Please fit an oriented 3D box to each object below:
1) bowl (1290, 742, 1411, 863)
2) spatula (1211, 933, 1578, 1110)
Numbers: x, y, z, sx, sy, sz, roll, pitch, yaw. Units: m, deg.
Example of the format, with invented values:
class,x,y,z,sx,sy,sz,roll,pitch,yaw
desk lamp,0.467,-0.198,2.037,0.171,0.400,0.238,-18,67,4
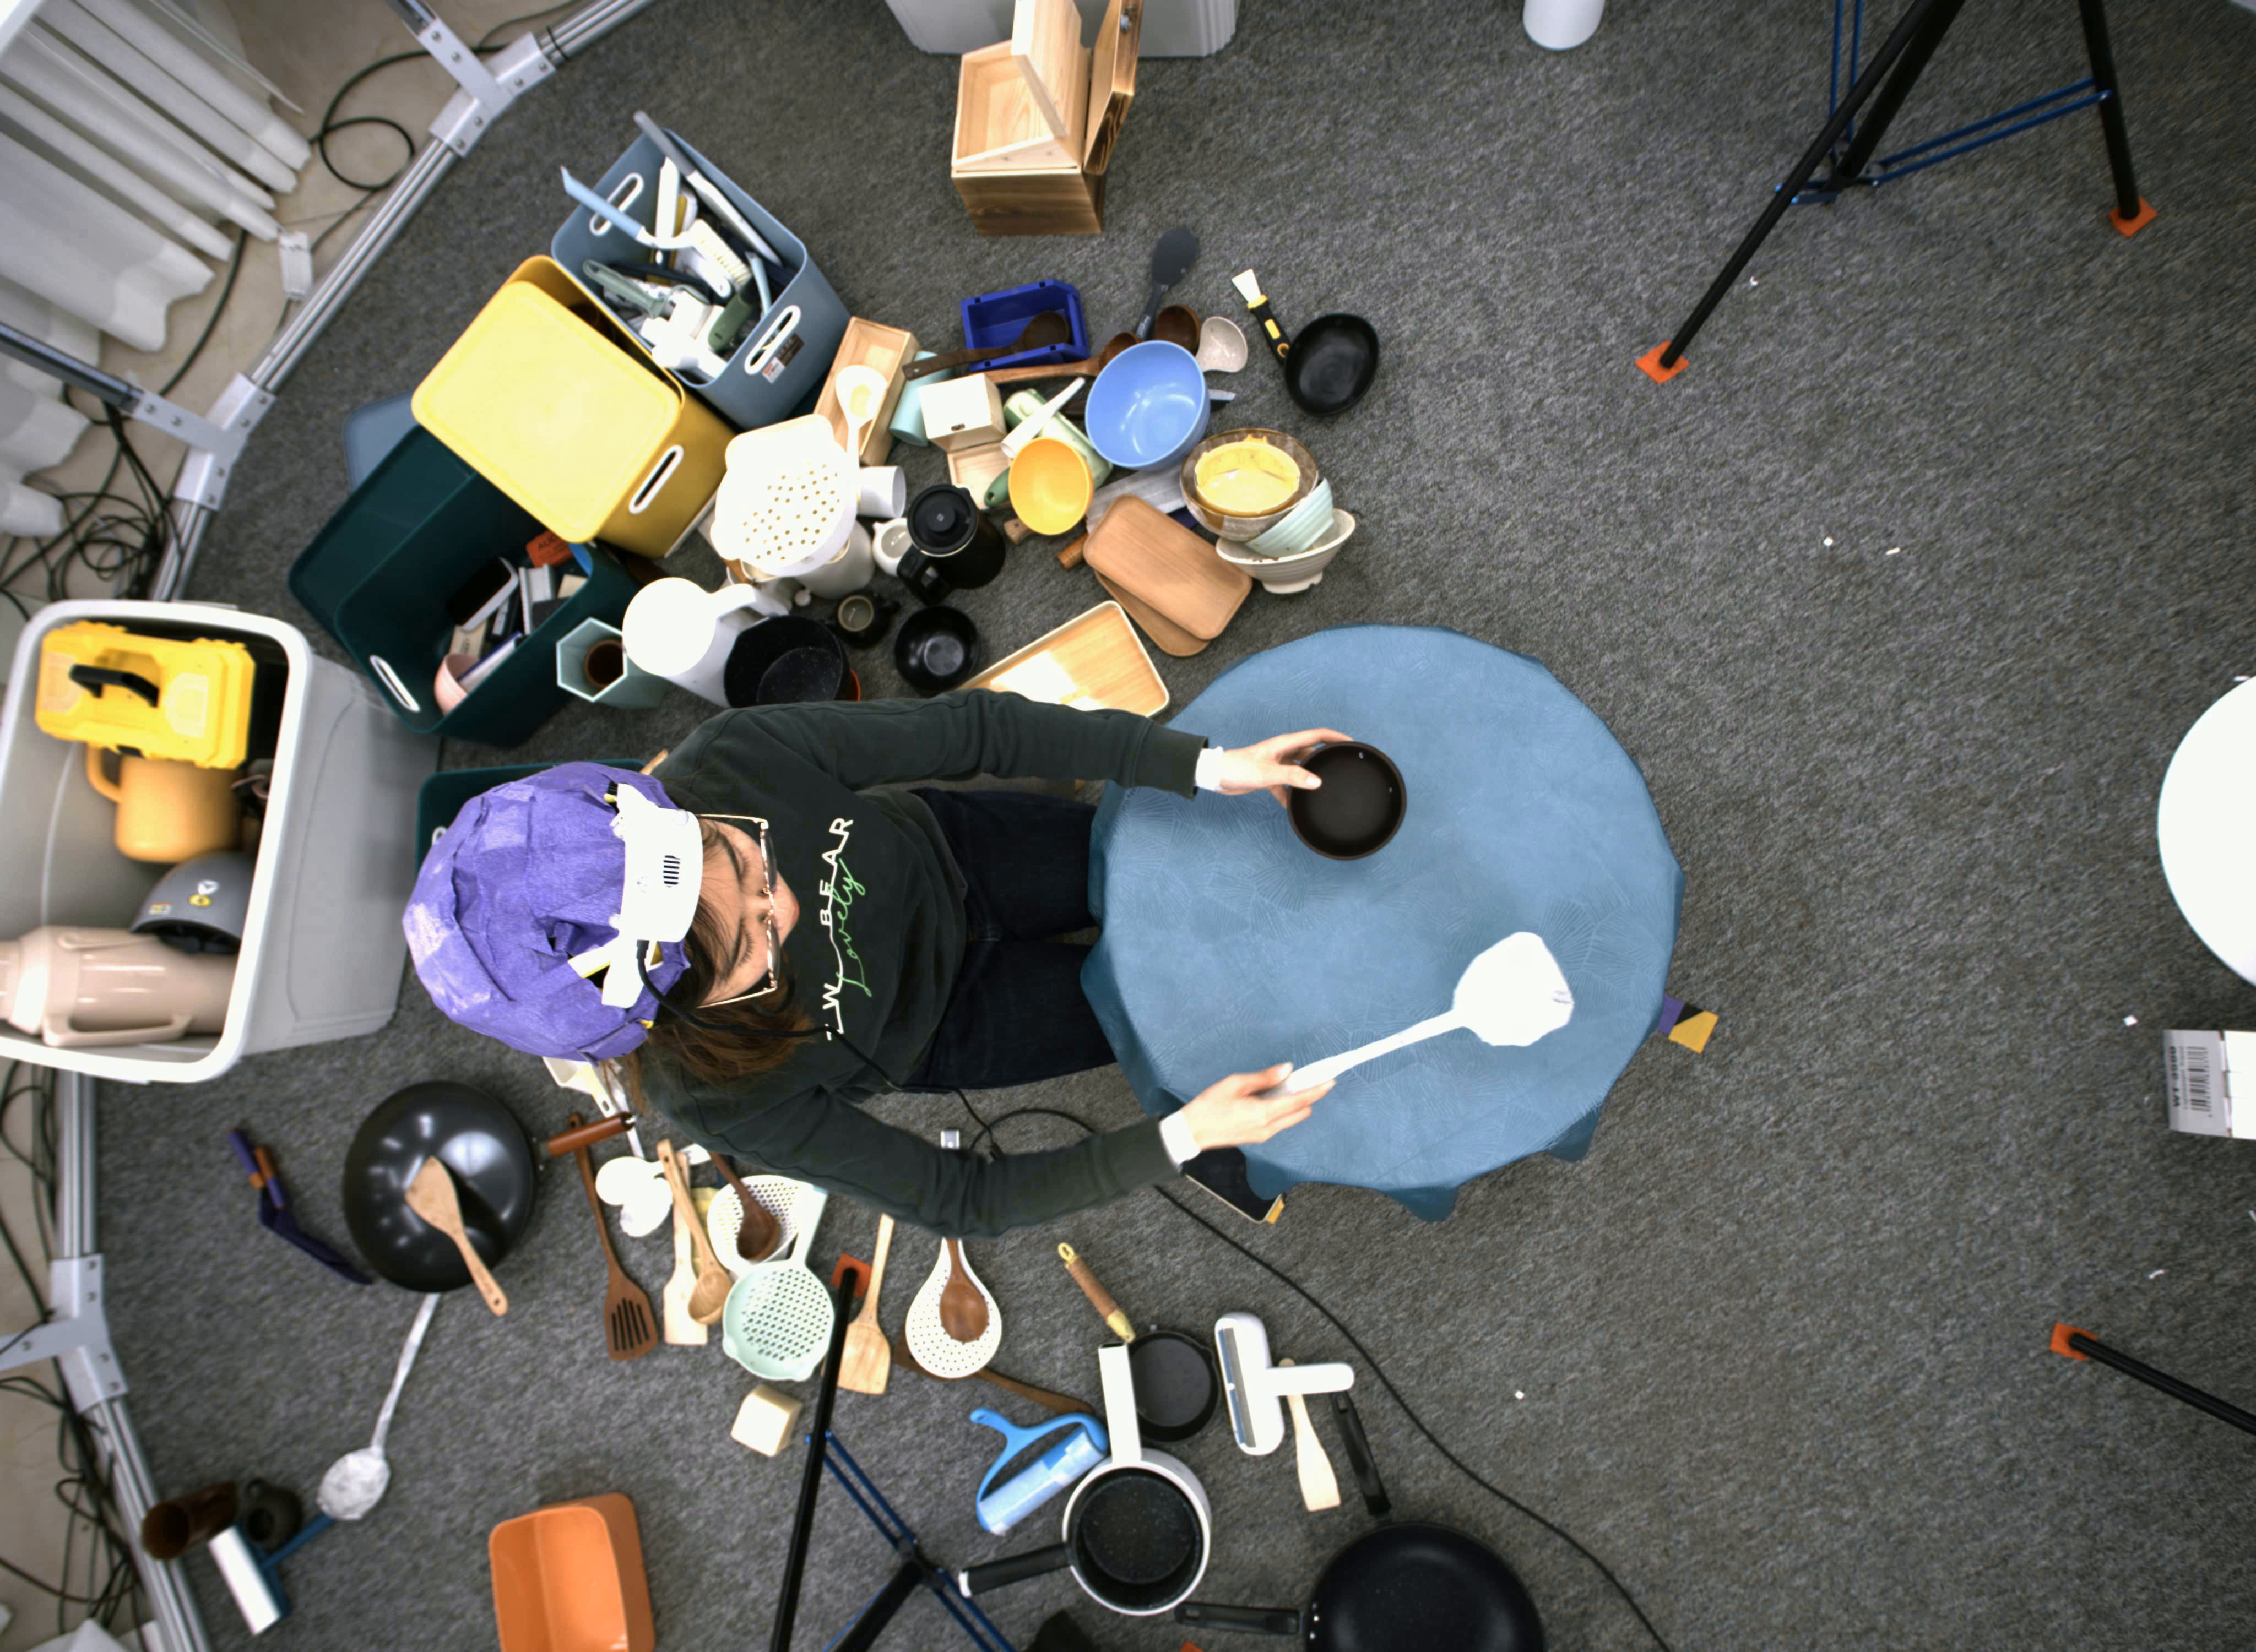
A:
class,x,y,z,sx,sy,sz,roll,pitch,yaw
bowl,0.221,-0.024,1.362,0.118,0.069,0.118,1,93,13
spatula,0.251,0.206,1.335,0.366,0.045,0.097,-21,71,5
